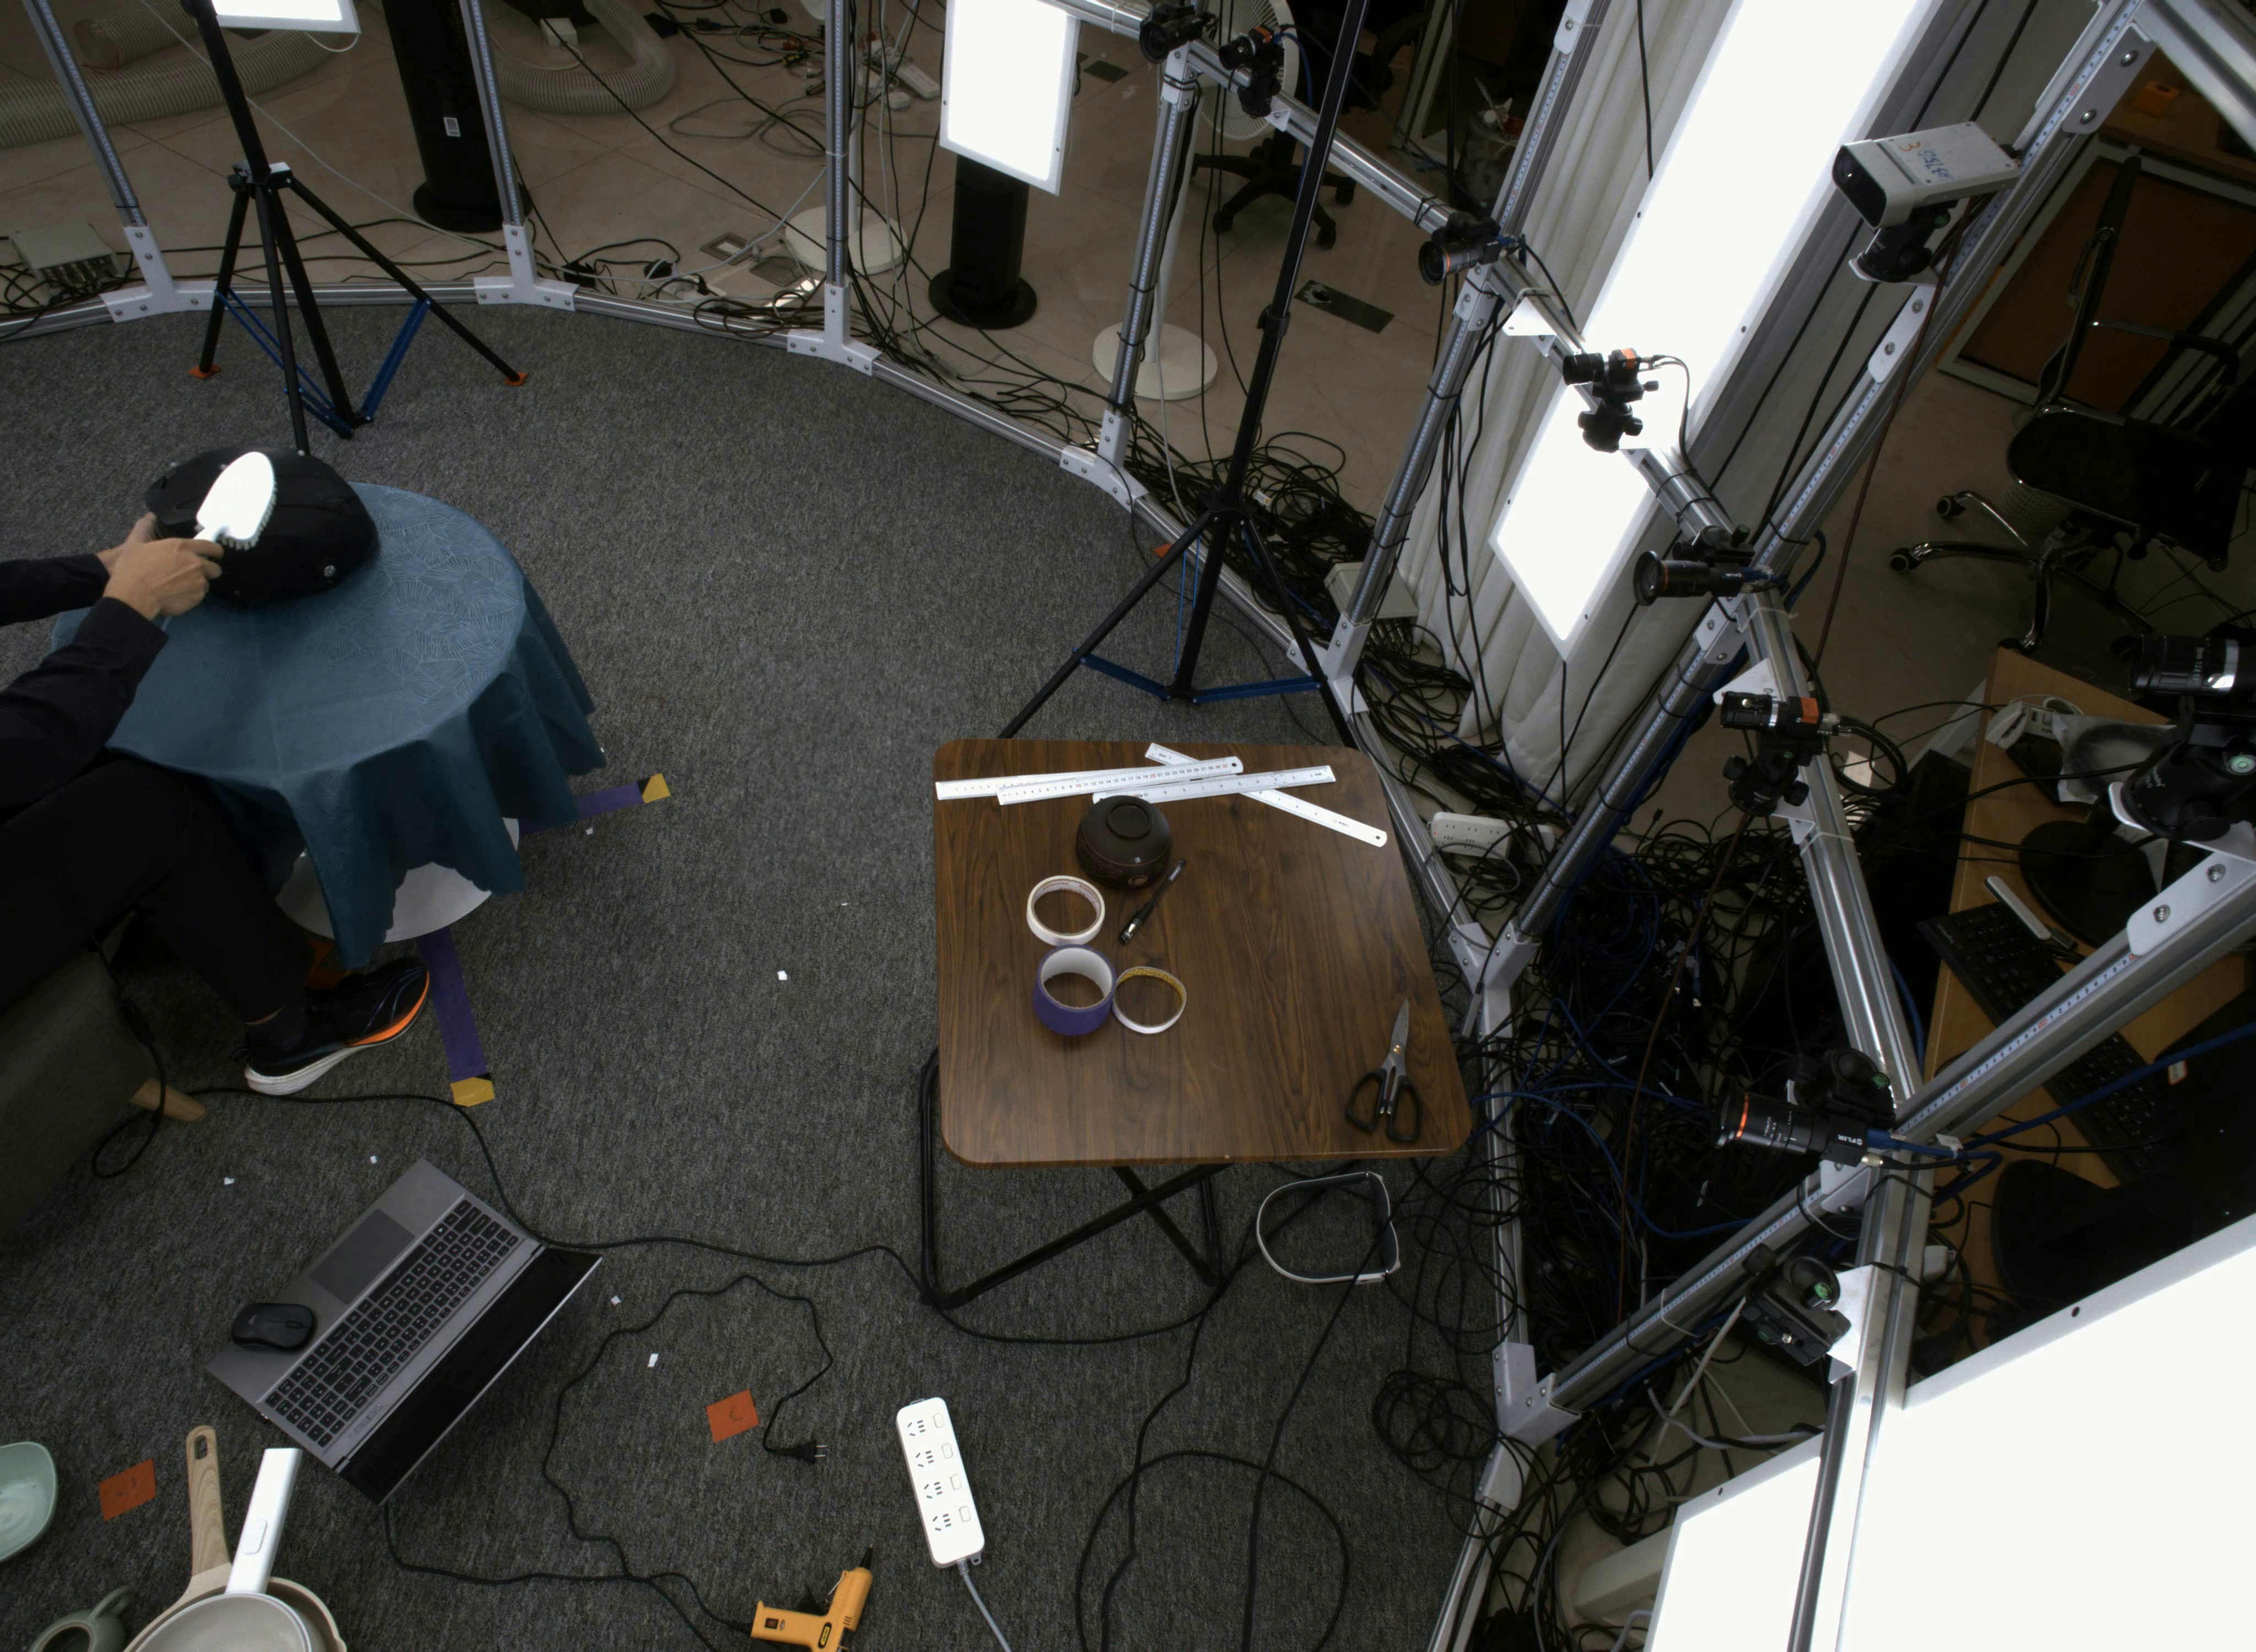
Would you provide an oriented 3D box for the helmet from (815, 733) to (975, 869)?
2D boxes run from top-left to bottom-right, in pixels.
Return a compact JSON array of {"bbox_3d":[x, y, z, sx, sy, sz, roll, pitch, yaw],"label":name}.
[{"bbox_3d":[-0.372,-0.057,2.141,0.280,0.176,0.239,10,25,-20],"label":"helmet"}]

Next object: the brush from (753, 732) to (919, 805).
[{"bbox_3d":[-0.441,-0.069,1.955,0.080,0.087,0.327,3,20,36],"label":"brush"}]
